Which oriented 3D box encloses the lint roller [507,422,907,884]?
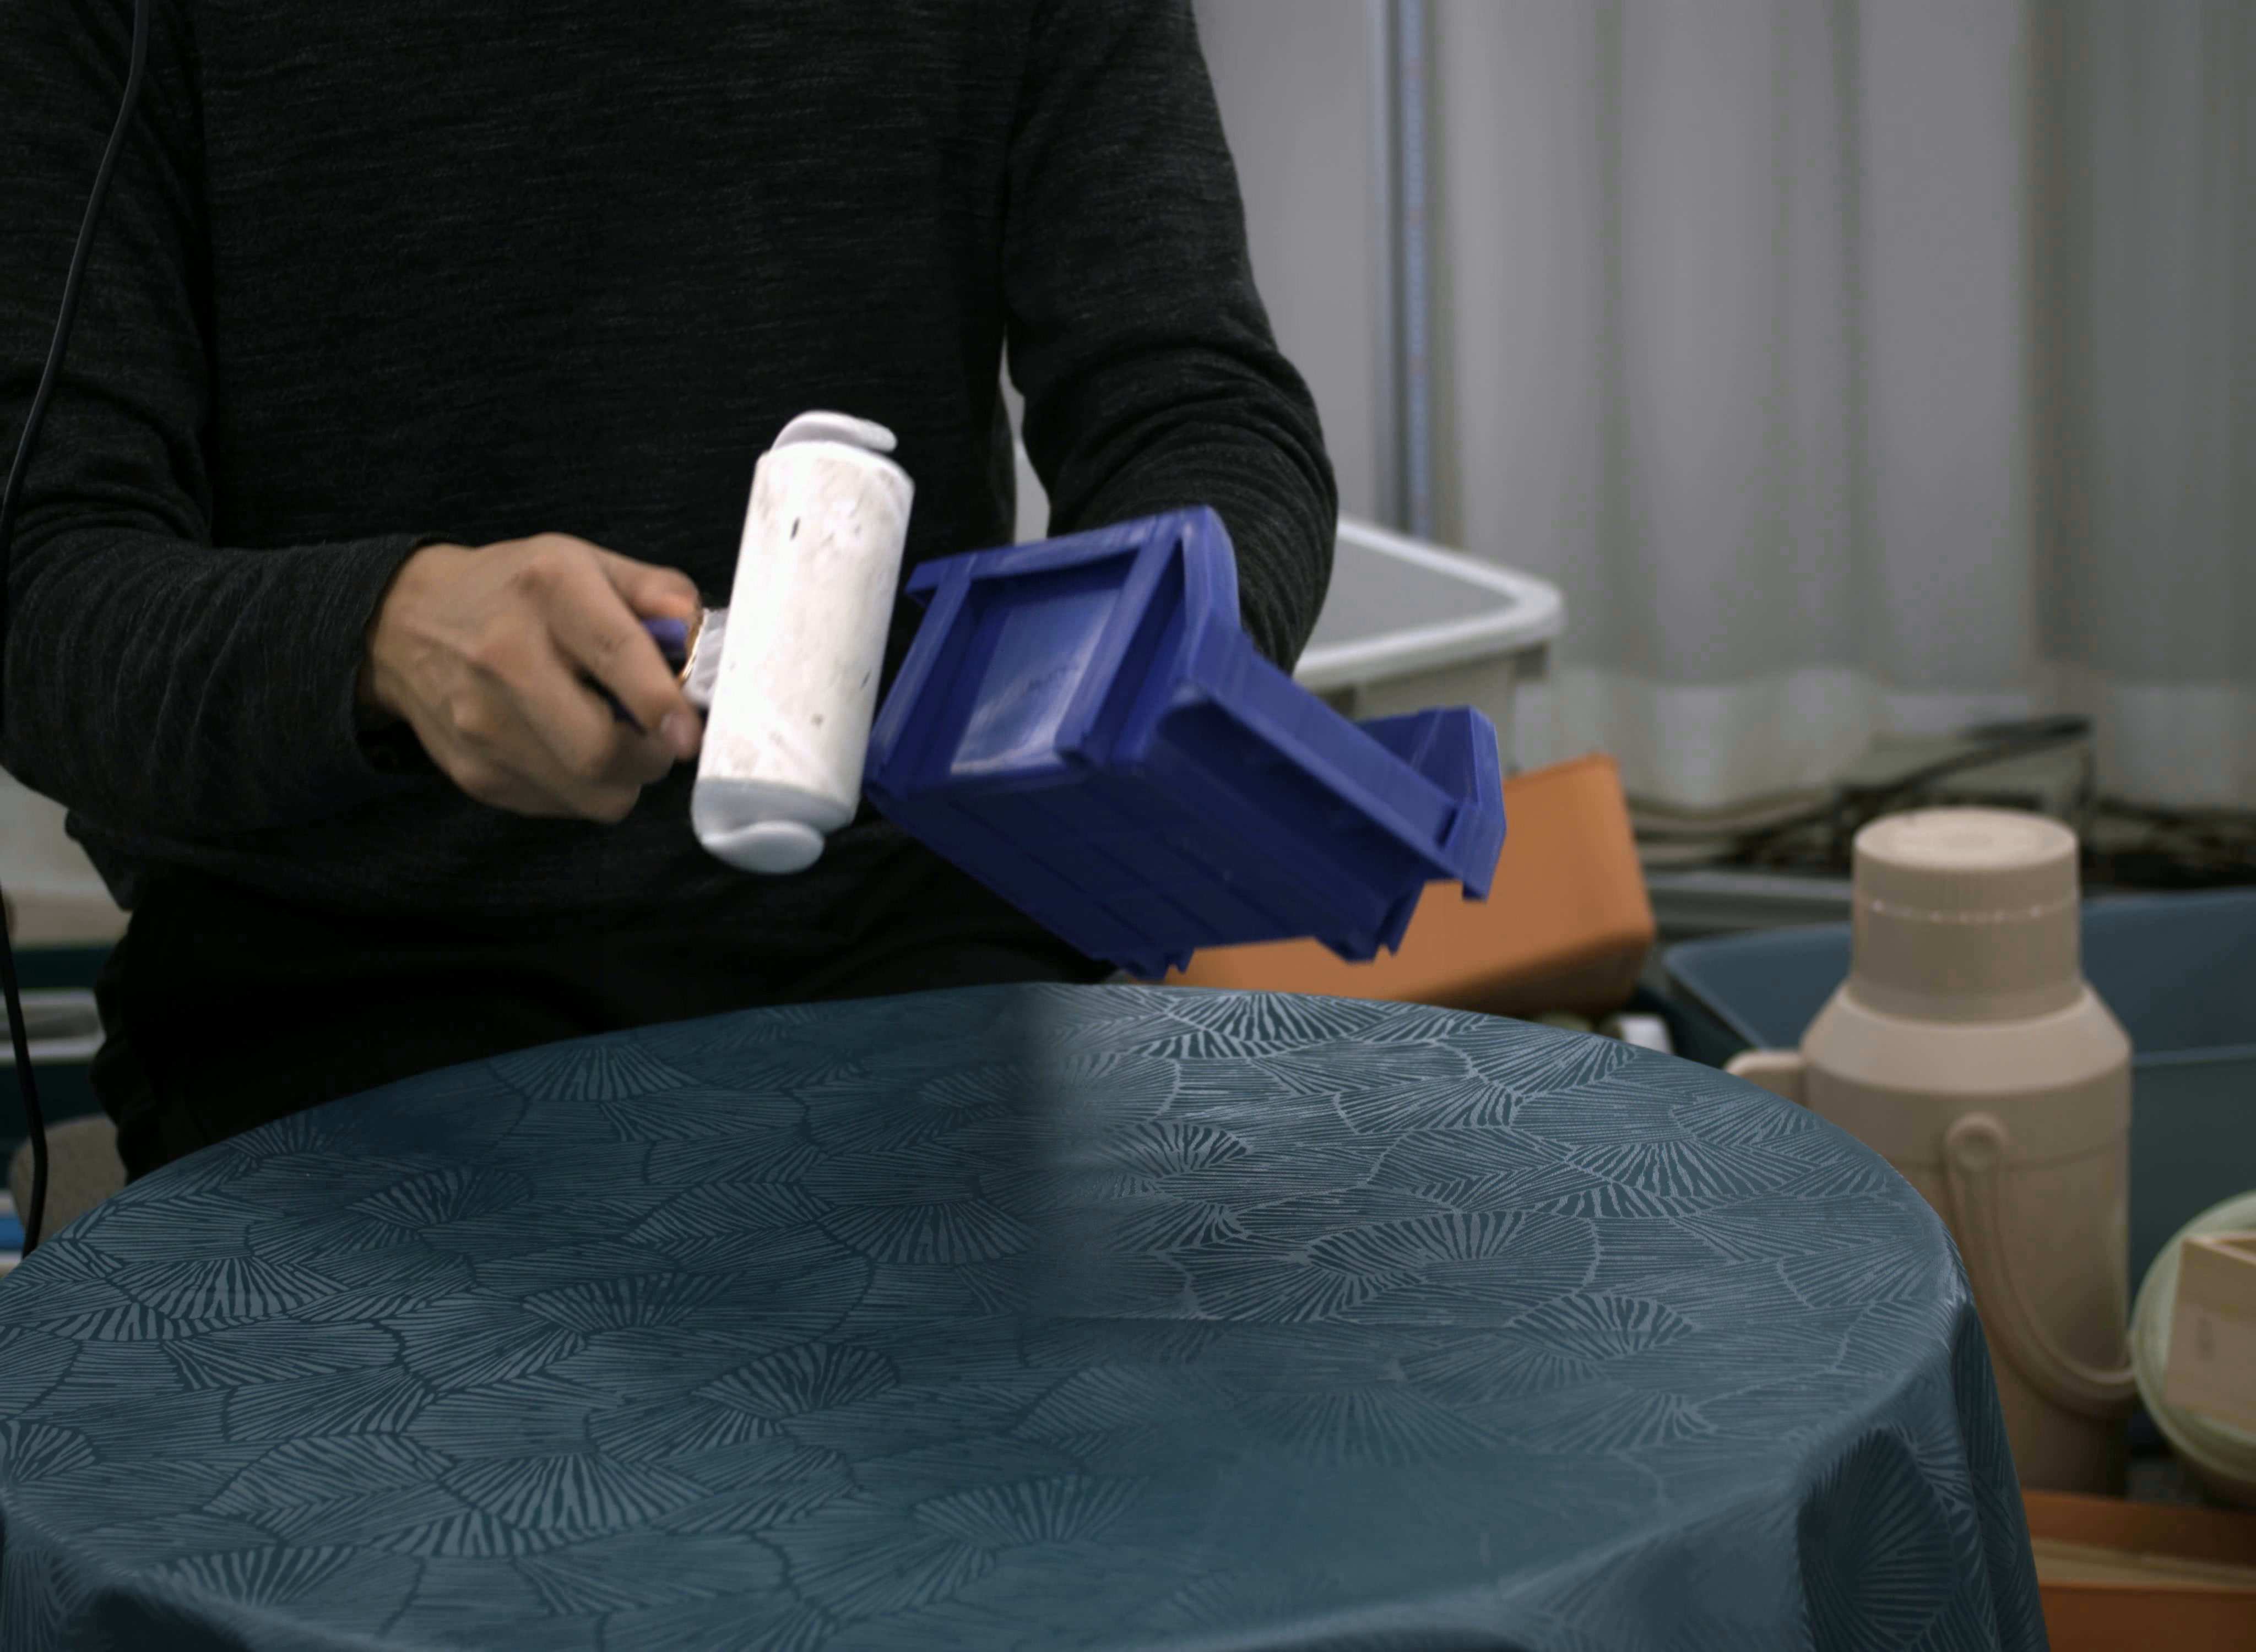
[{"bbox_3d":[-0.138,-0.047,1.606,0.049,0.134,0.181,21,-17,-41],"label":"lint roller"}]

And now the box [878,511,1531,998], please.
[{"bbox_3d":[0.024,-0.018,1.599,0.123,0.082,0.179,36,-26,-27],"label":"box"}]
